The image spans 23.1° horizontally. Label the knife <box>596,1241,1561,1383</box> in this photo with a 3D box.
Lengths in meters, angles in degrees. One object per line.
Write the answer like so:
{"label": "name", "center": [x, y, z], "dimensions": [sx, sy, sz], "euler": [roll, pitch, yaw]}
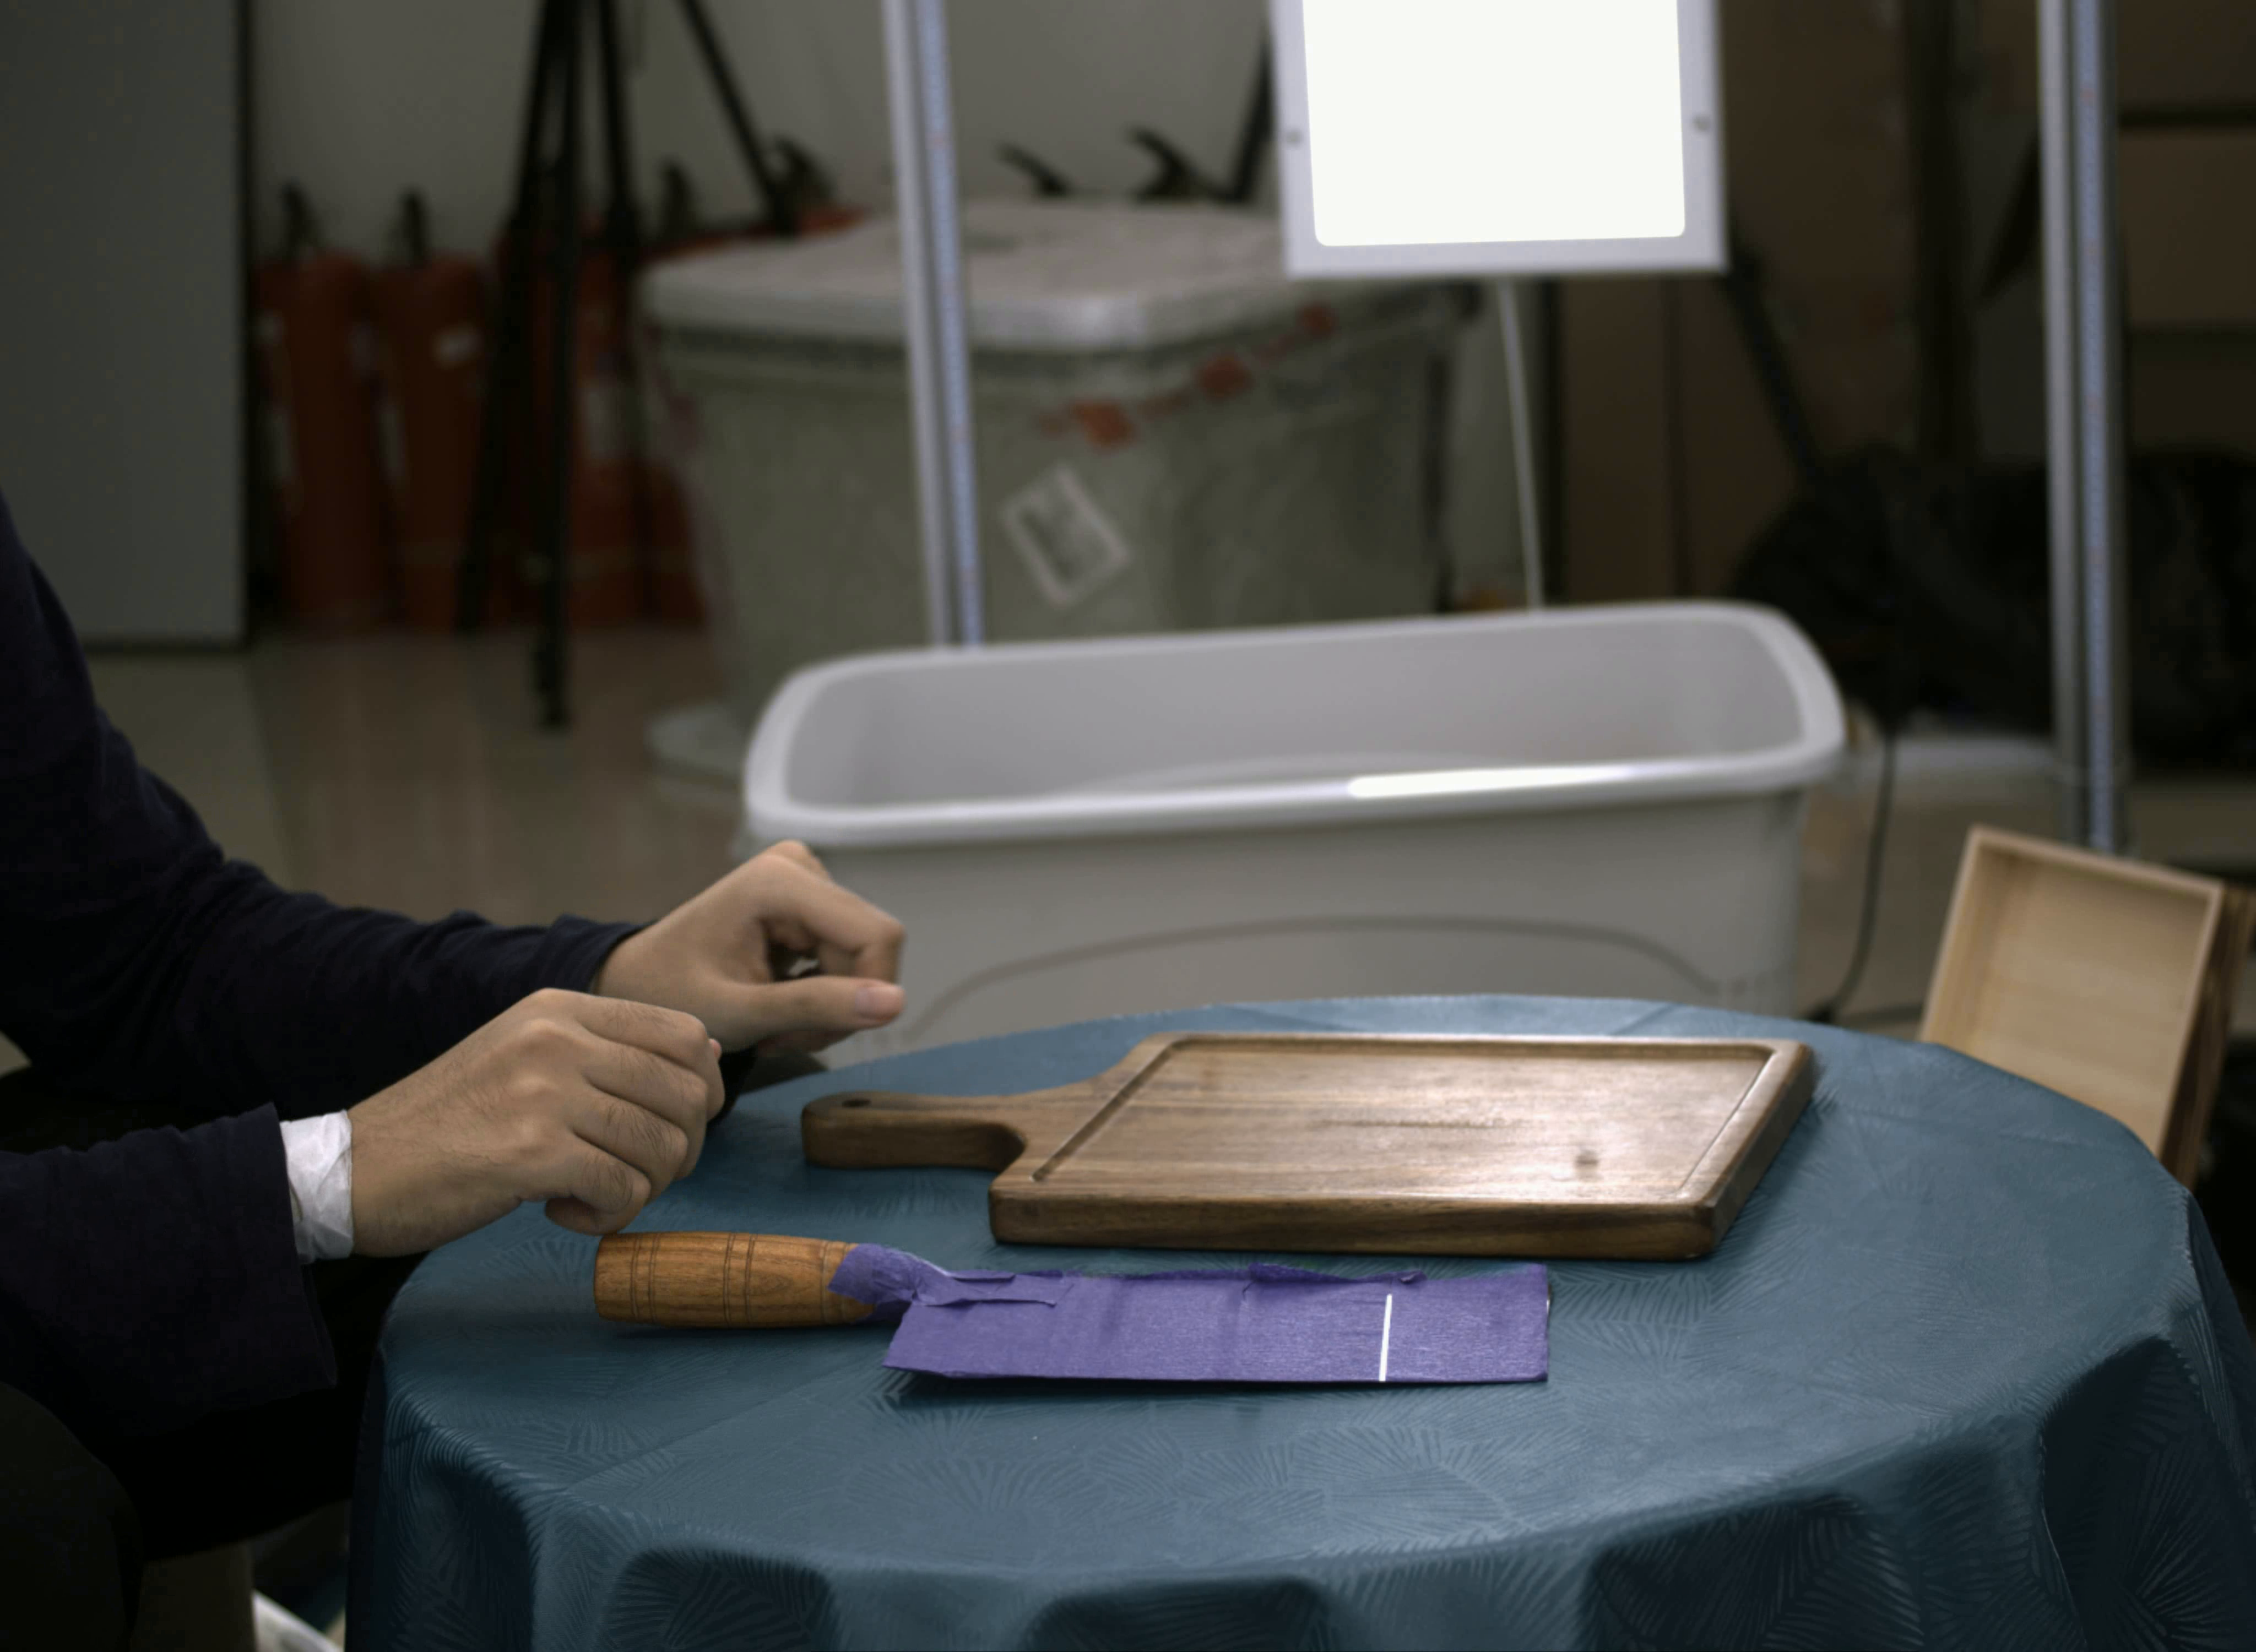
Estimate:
{"label": "knife", "center": [-0.020, 0.153, 1.745], "dimensions": [0.317, 0.032, 0.103], "euler": [-2, 14, 9]}

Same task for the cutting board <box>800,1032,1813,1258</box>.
{"label": "cutting board", "center": [0.052, 0.108, 1.918], "dimensions": [0.357, 0.023, 0.197], "euler": [-1, 14, 20]}
